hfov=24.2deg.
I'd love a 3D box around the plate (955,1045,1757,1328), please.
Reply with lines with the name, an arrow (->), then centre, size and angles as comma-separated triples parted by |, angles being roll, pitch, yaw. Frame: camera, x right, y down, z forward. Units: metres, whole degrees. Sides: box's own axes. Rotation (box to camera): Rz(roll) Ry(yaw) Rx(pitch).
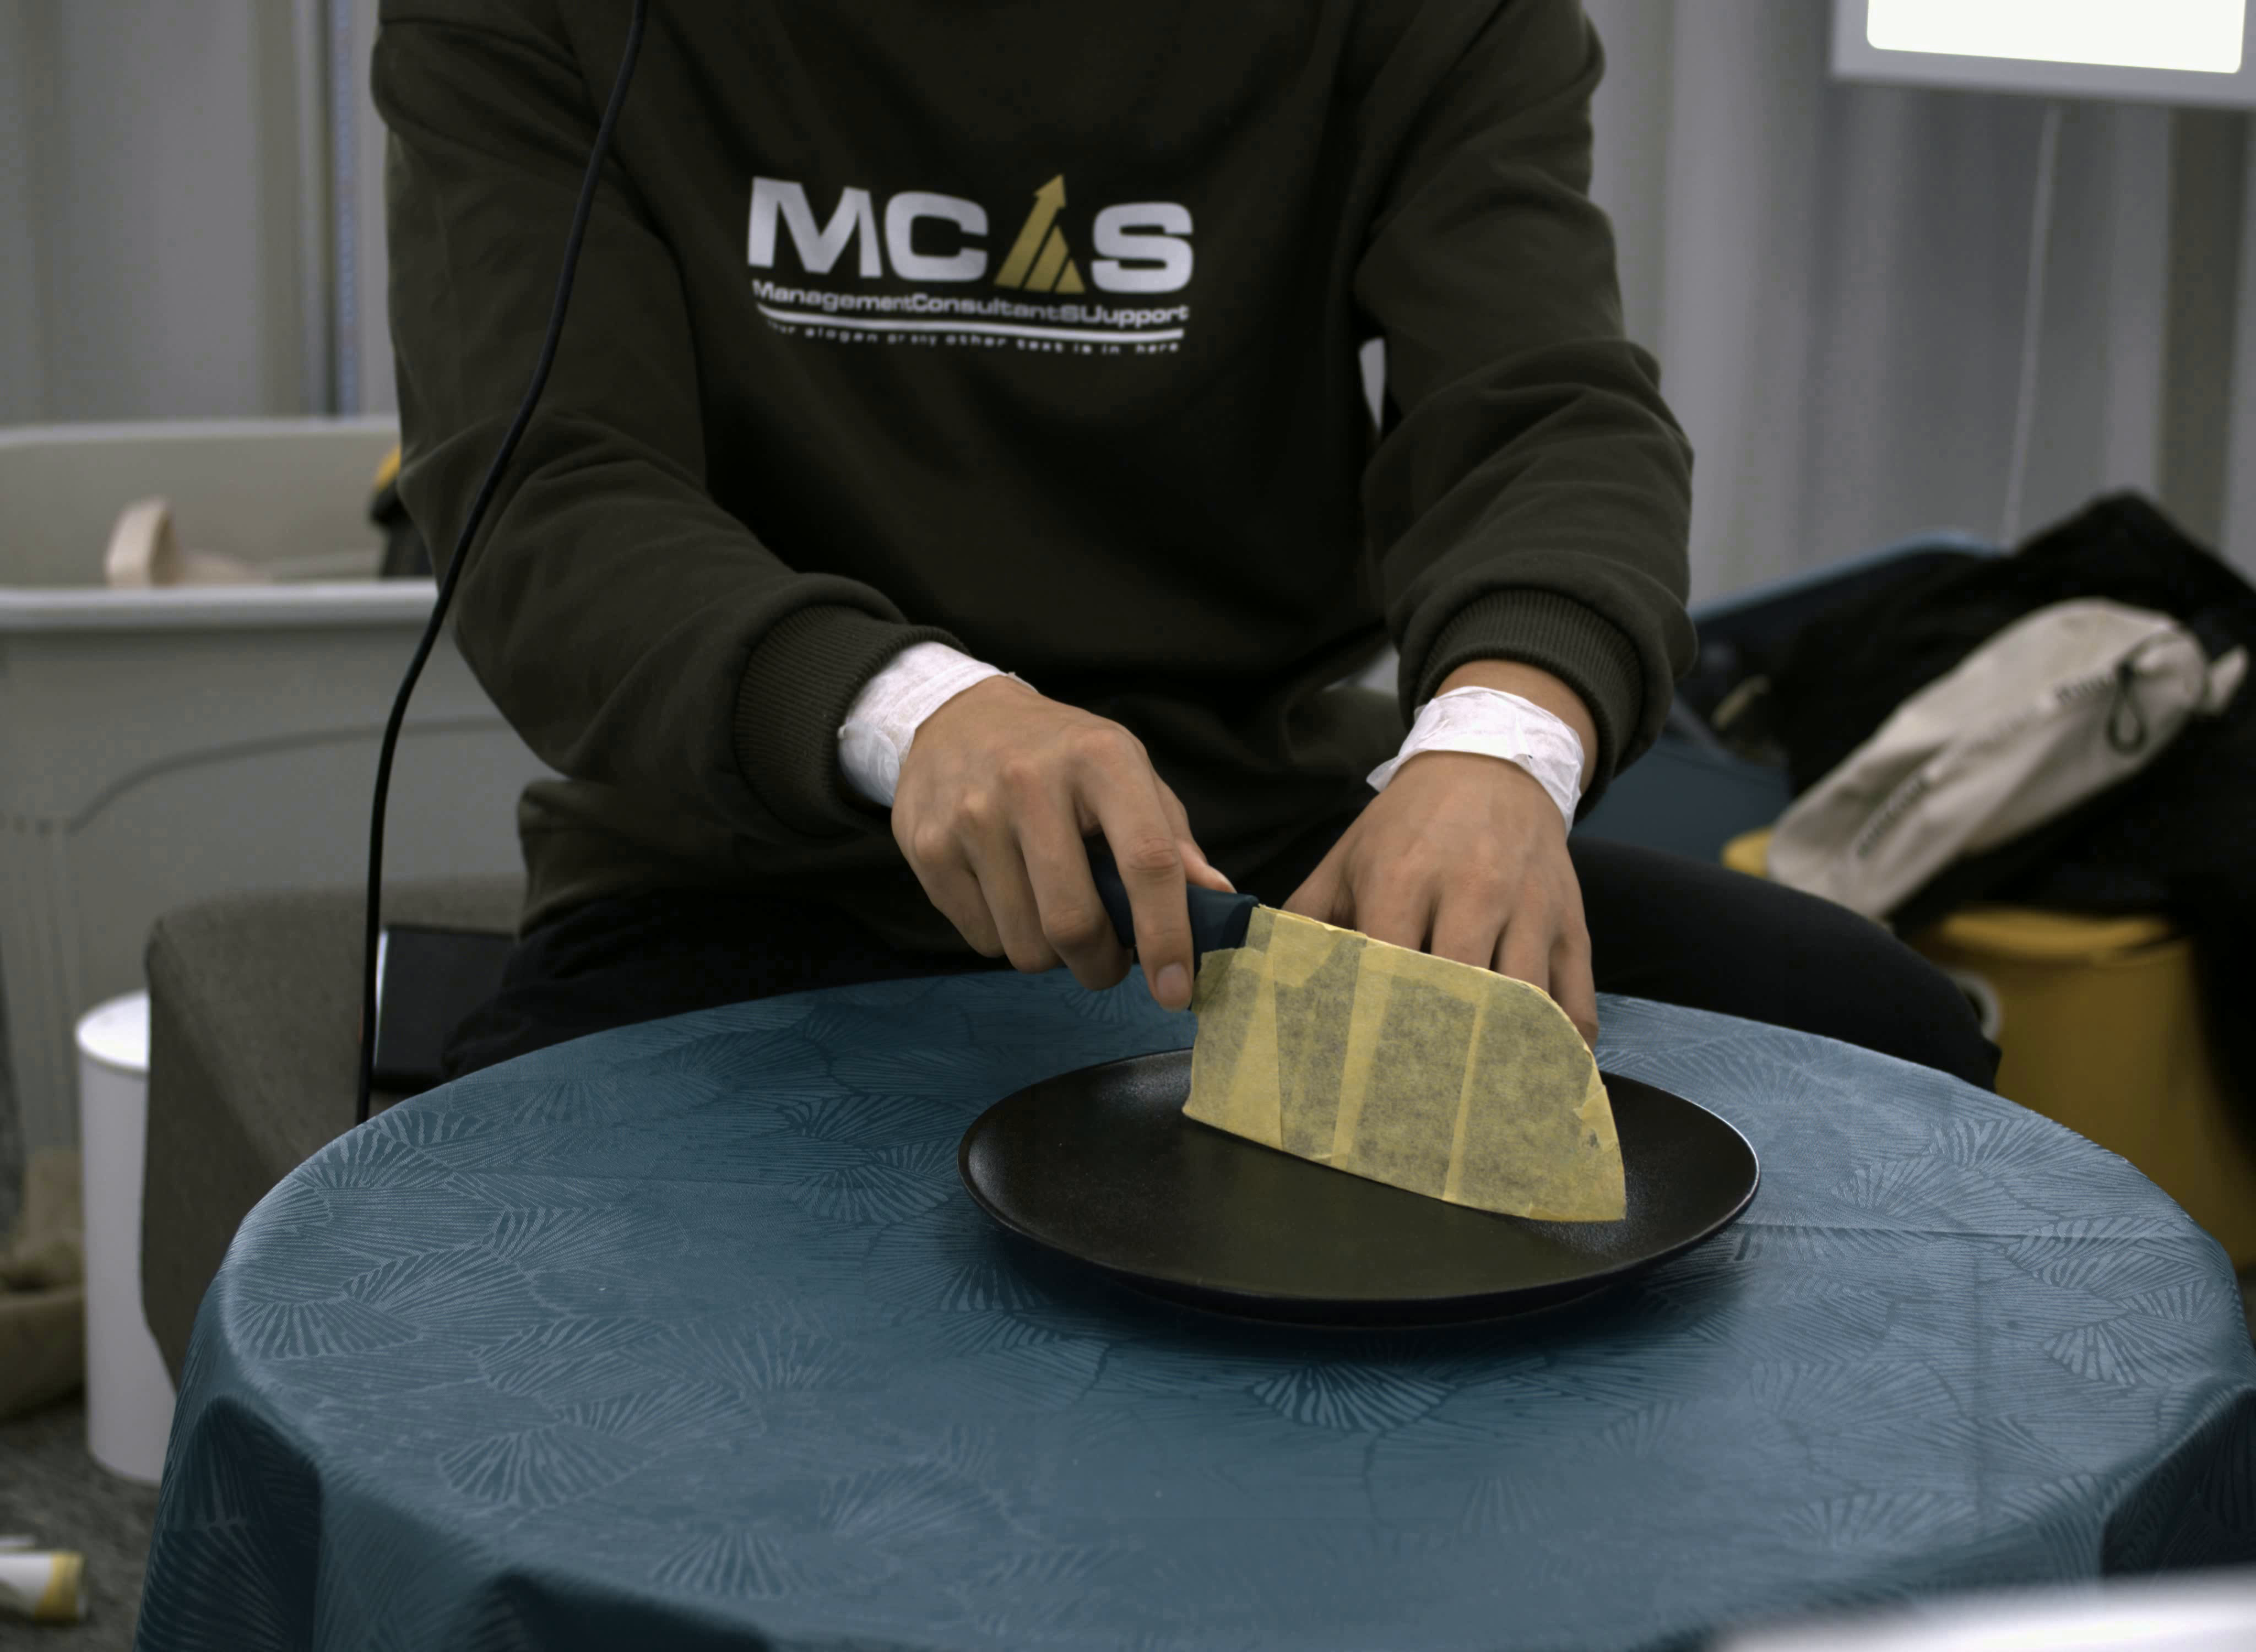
plate -> 0.068, 0.110, 1.592 | 0.243, 0.023, 0.243 | 1, 15, 0

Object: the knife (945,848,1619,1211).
knife -> 0.043, 0.060, 1.639 | 0.285, 0.081, 0.027 | 20, 10, 41
